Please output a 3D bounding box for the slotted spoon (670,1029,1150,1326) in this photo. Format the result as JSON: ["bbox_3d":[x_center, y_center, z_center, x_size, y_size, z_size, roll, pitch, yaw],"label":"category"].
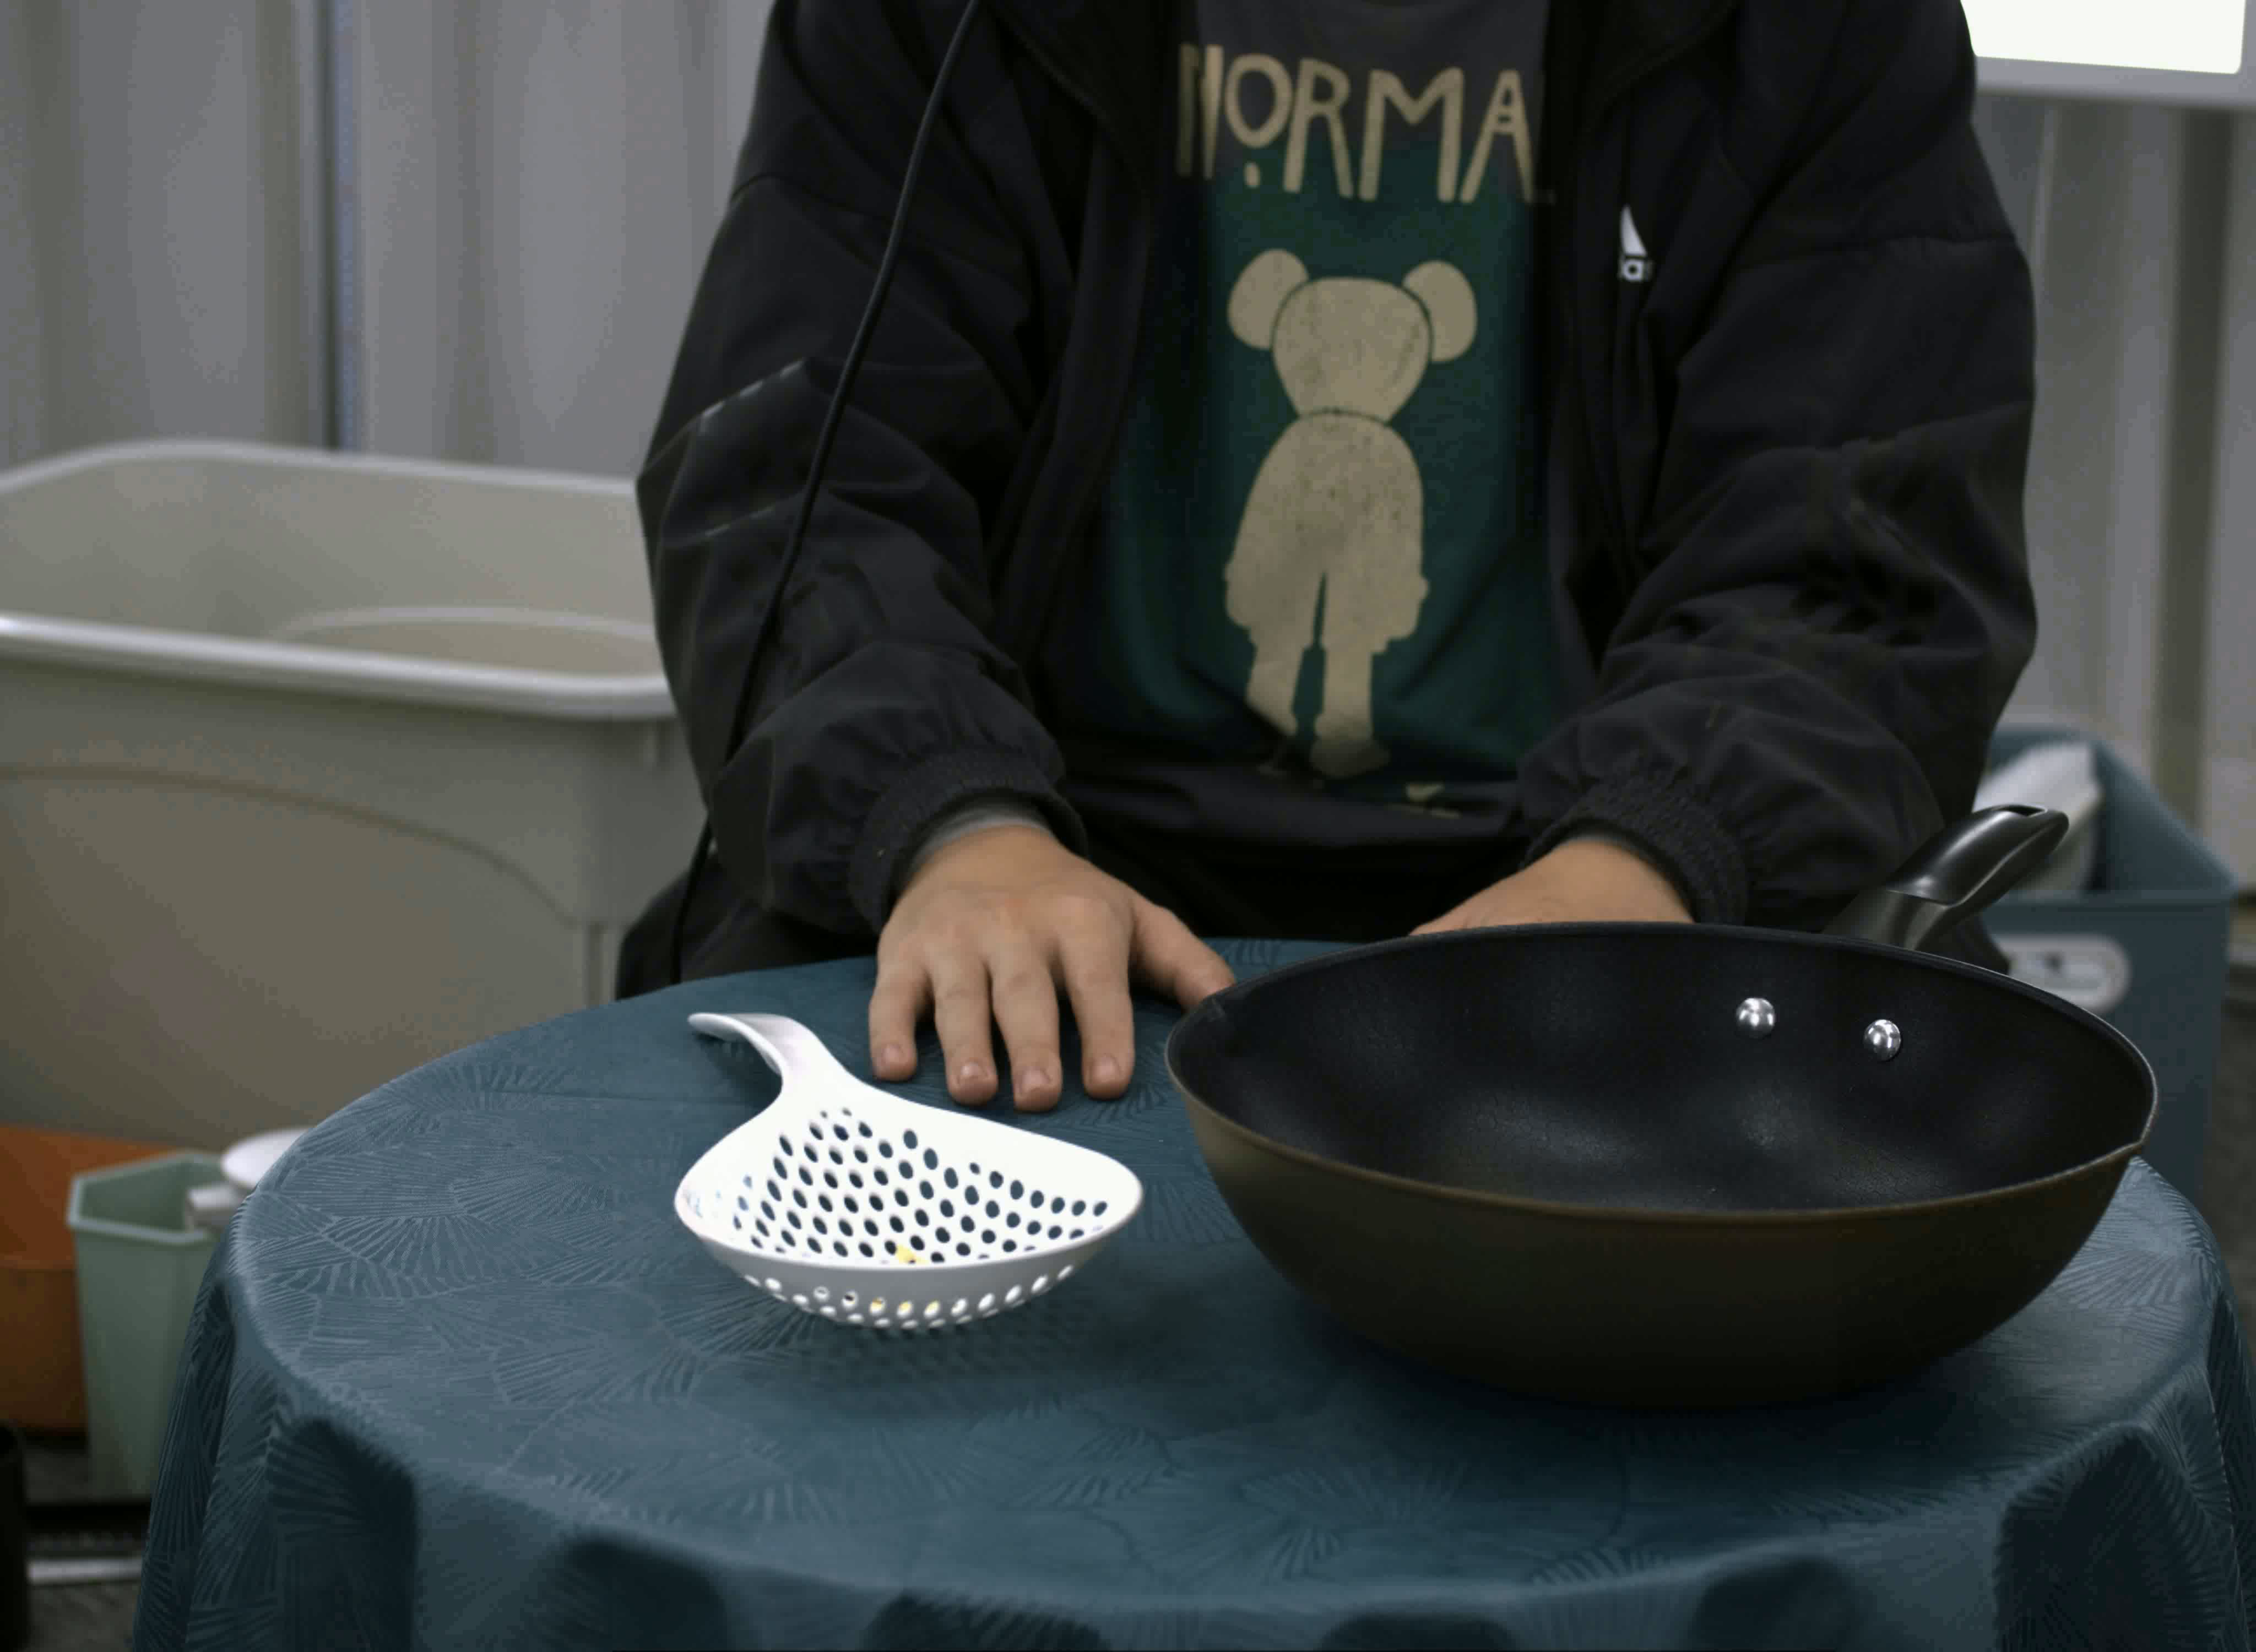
[{"bbox_3d":[-0.091,0.093,1.613,0.137,0.051,0.344,-5,16,-15],"label":"slotted spoon"}]

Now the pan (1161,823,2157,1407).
[{"bbox_3d":[0.193,0.082,1.587,0.285,0.087,0.465,9,16,27],"label":"pan"}]
